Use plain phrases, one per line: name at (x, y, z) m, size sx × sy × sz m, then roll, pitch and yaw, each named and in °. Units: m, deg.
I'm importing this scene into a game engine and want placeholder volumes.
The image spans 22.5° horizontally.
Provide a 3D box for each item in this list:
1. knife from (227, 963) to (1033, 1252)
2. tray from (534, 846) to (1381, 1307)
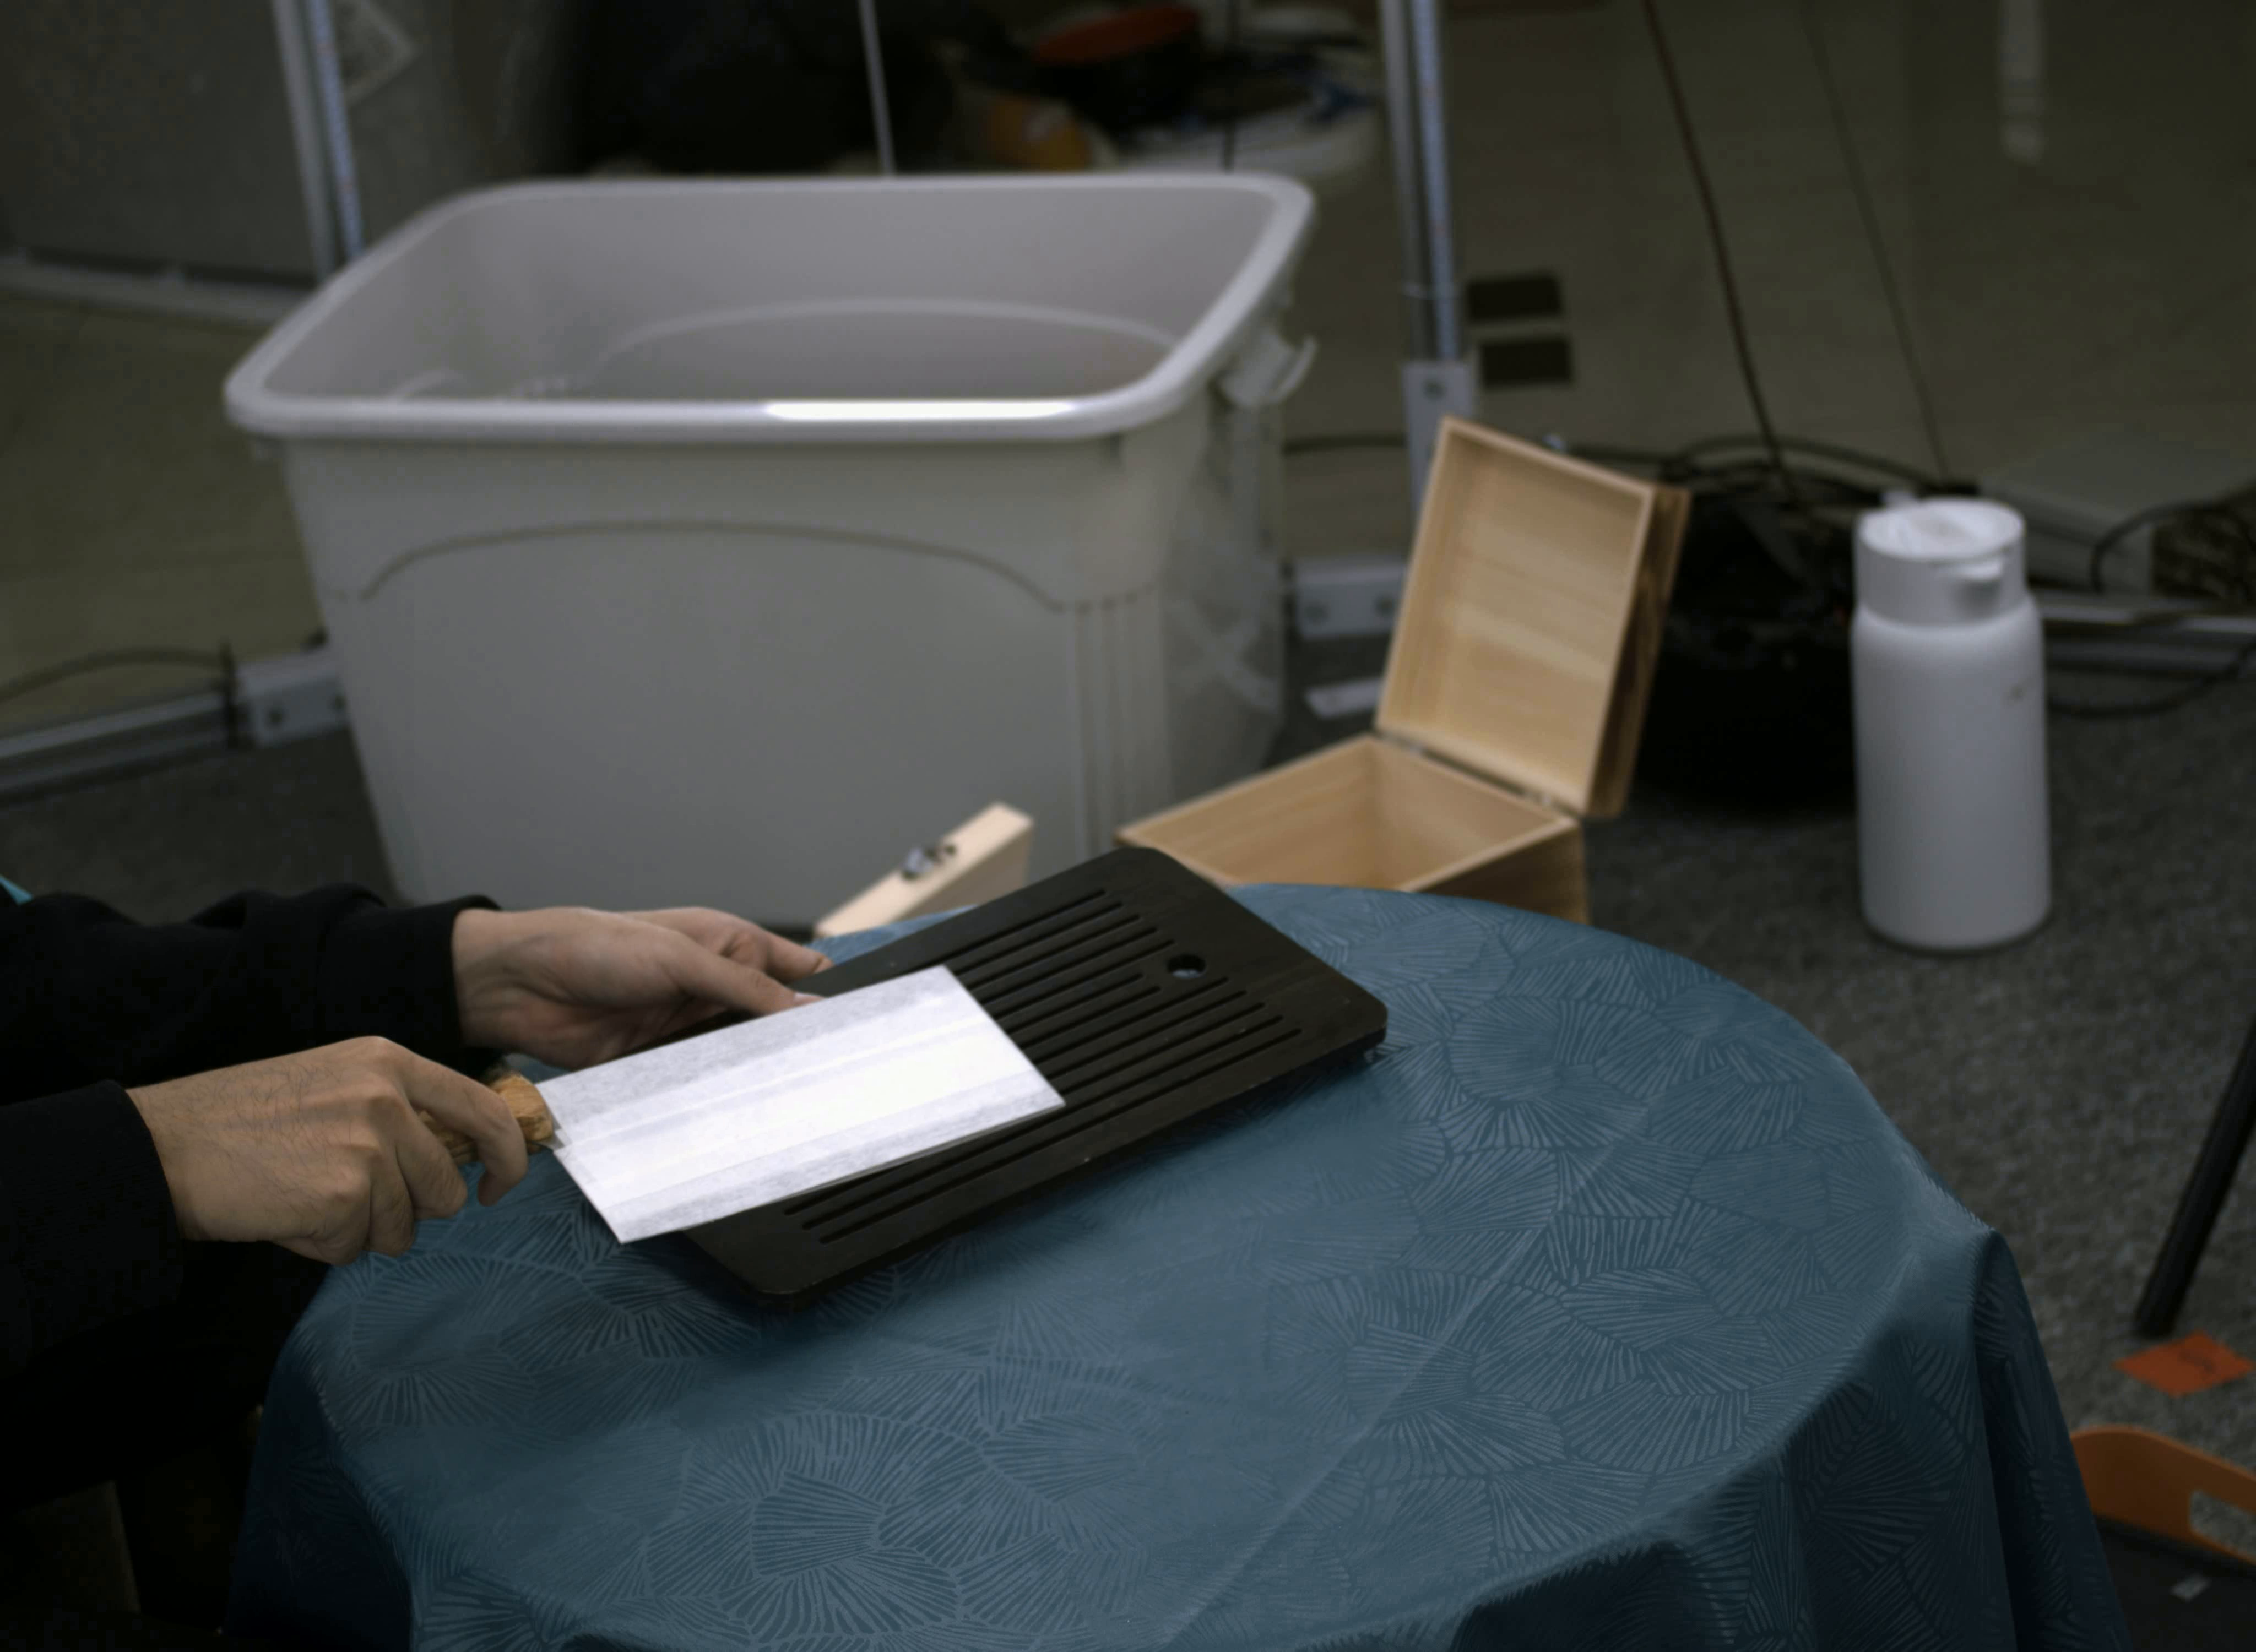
knife at (-0.173, 0.113, 2.056) m, size 0.304 × 0.021 × 0.091 m, roll -16°, pitch 46°, yaw -30°
tray at (-0.066, 0.095, 2.205) m, size 0.304 × 0.019 × 0.168 m, roll -22°, pitch 39°, yaw -30°
